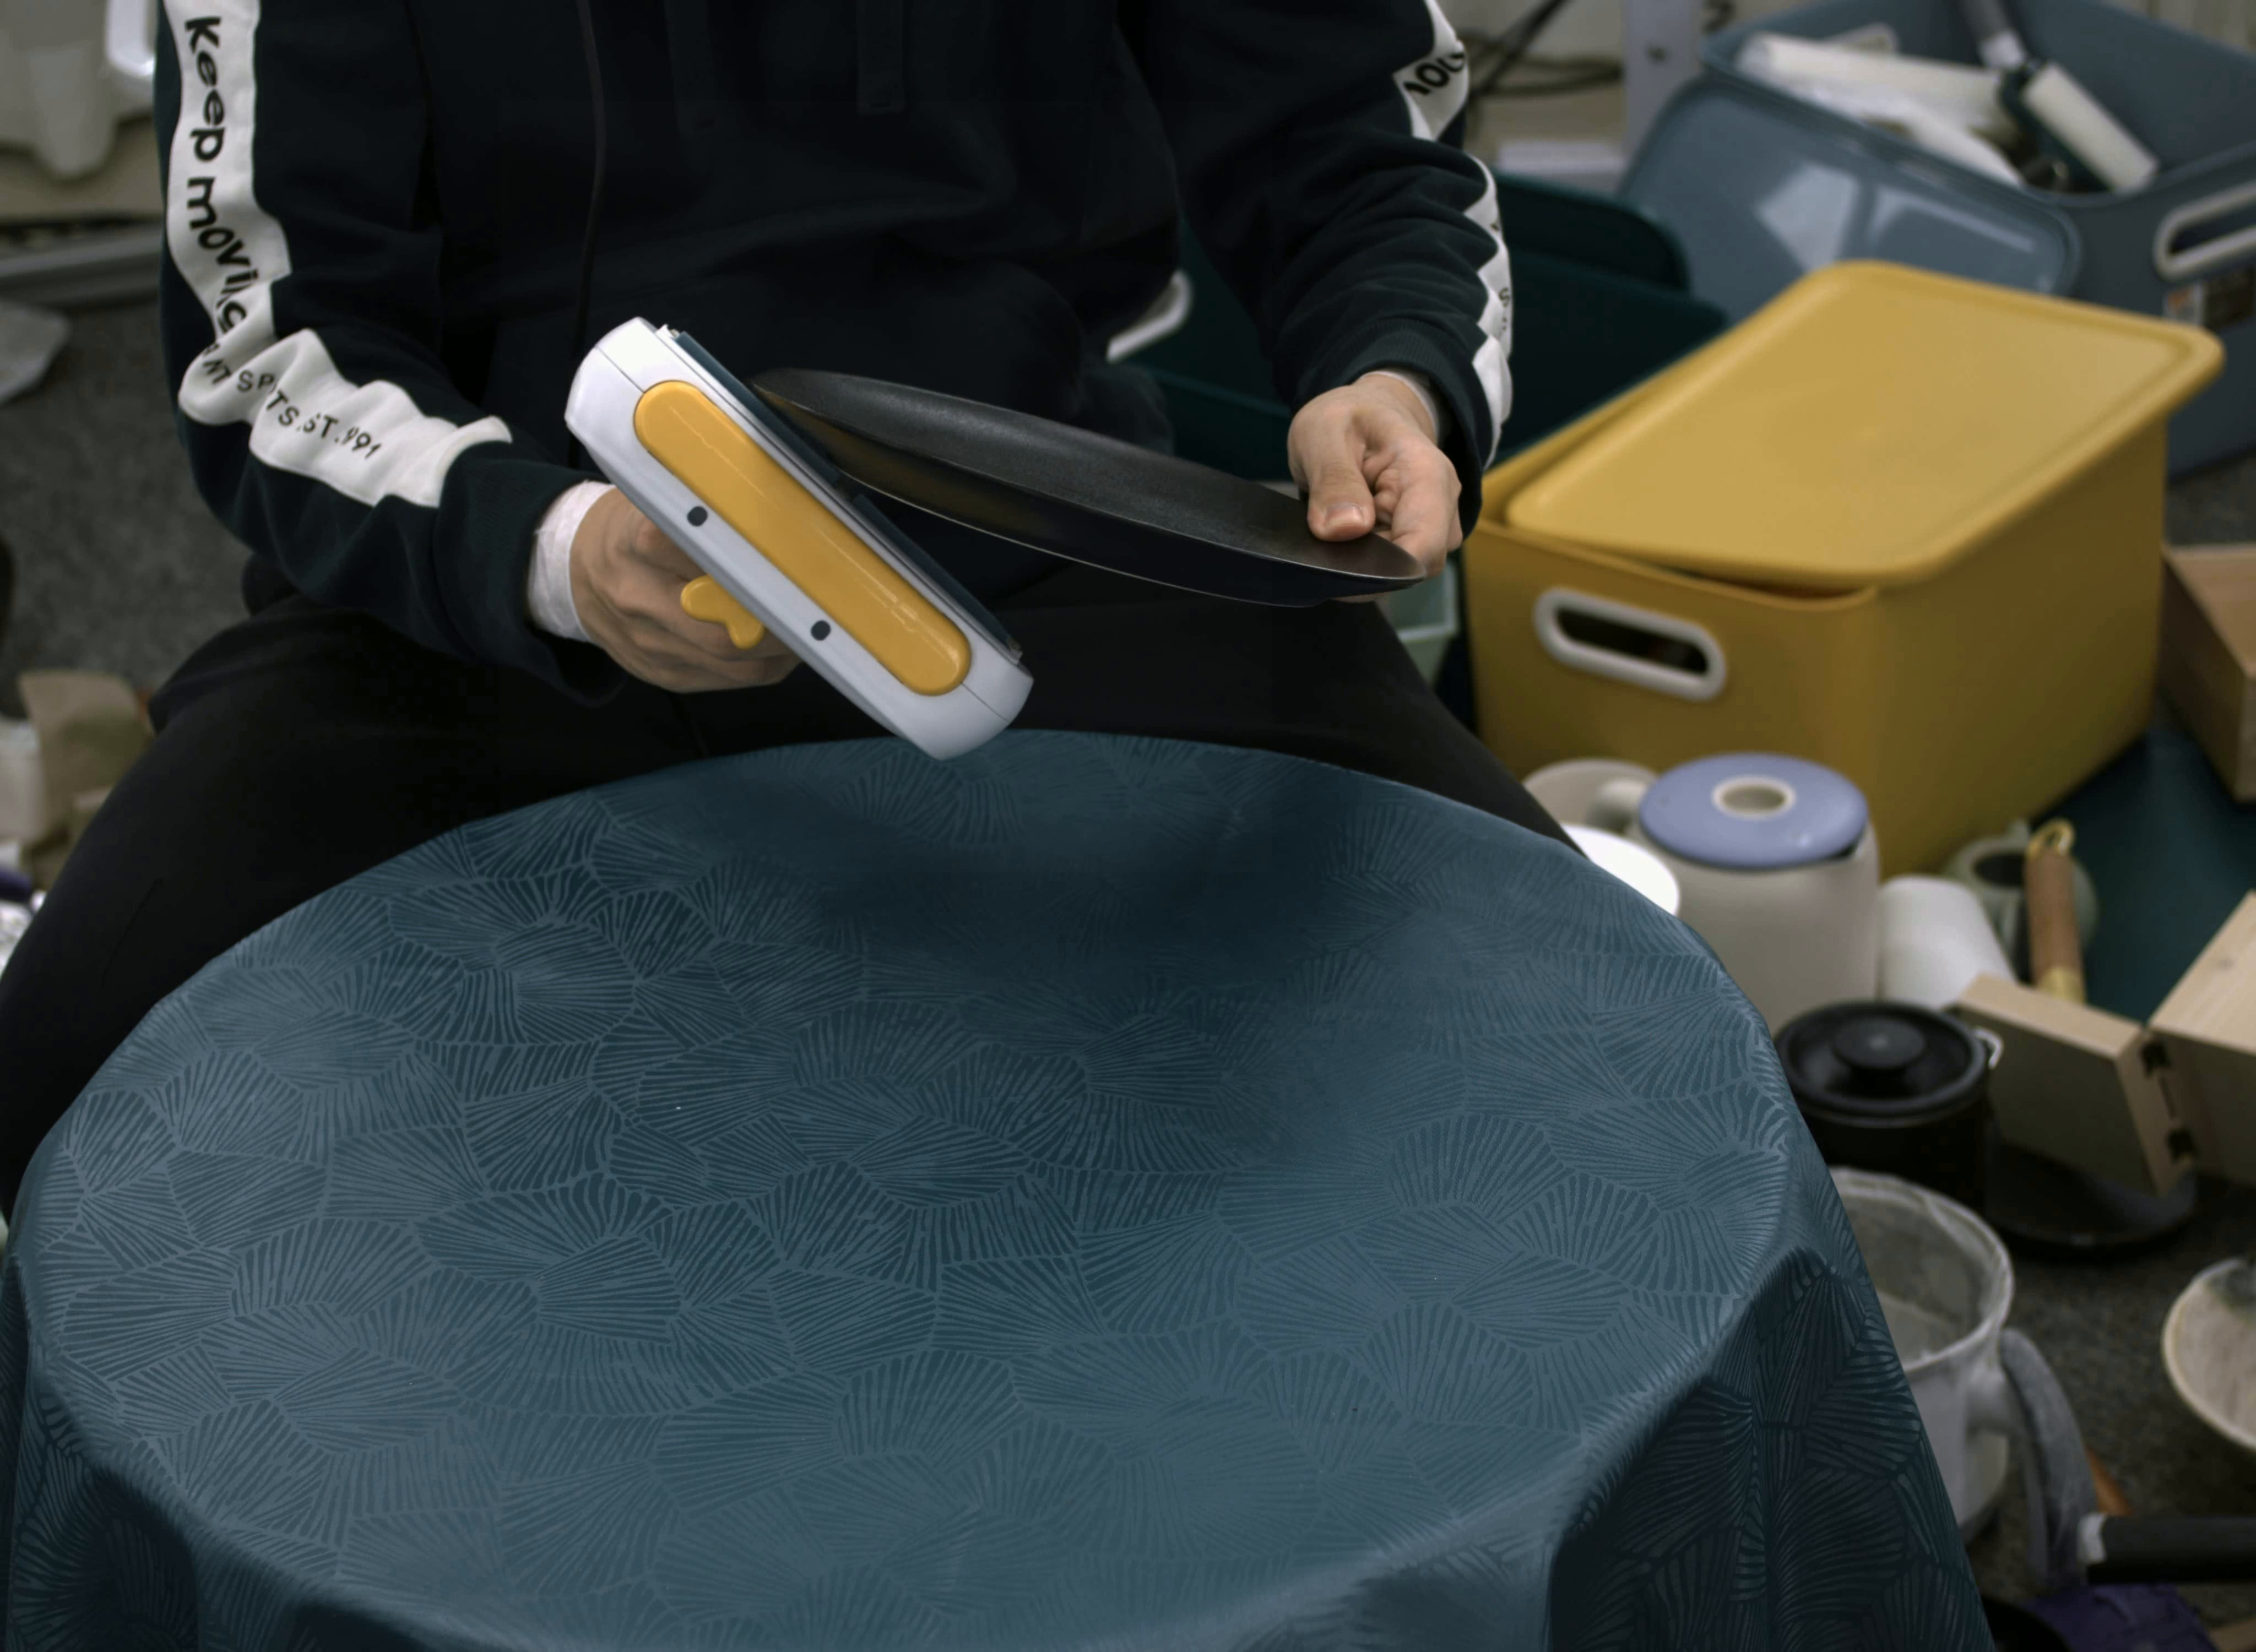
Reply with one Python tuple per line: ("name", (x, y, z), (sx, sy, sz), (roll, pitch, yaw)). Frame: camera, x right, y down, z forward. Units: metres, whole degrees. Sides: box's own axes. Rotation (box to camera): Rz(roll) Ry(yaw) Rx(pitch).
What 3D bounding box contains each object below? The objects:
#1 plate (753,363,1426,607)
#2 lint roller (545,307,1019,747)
("plate", (-0.015, -0.114, 1.952), (0.243, 0.023, 0.245), (17, 9, -2))
("lint roller", (-0.128, -0.095, 2.001), (0.192, 0.074, 0.192), (38, -5, -1))
